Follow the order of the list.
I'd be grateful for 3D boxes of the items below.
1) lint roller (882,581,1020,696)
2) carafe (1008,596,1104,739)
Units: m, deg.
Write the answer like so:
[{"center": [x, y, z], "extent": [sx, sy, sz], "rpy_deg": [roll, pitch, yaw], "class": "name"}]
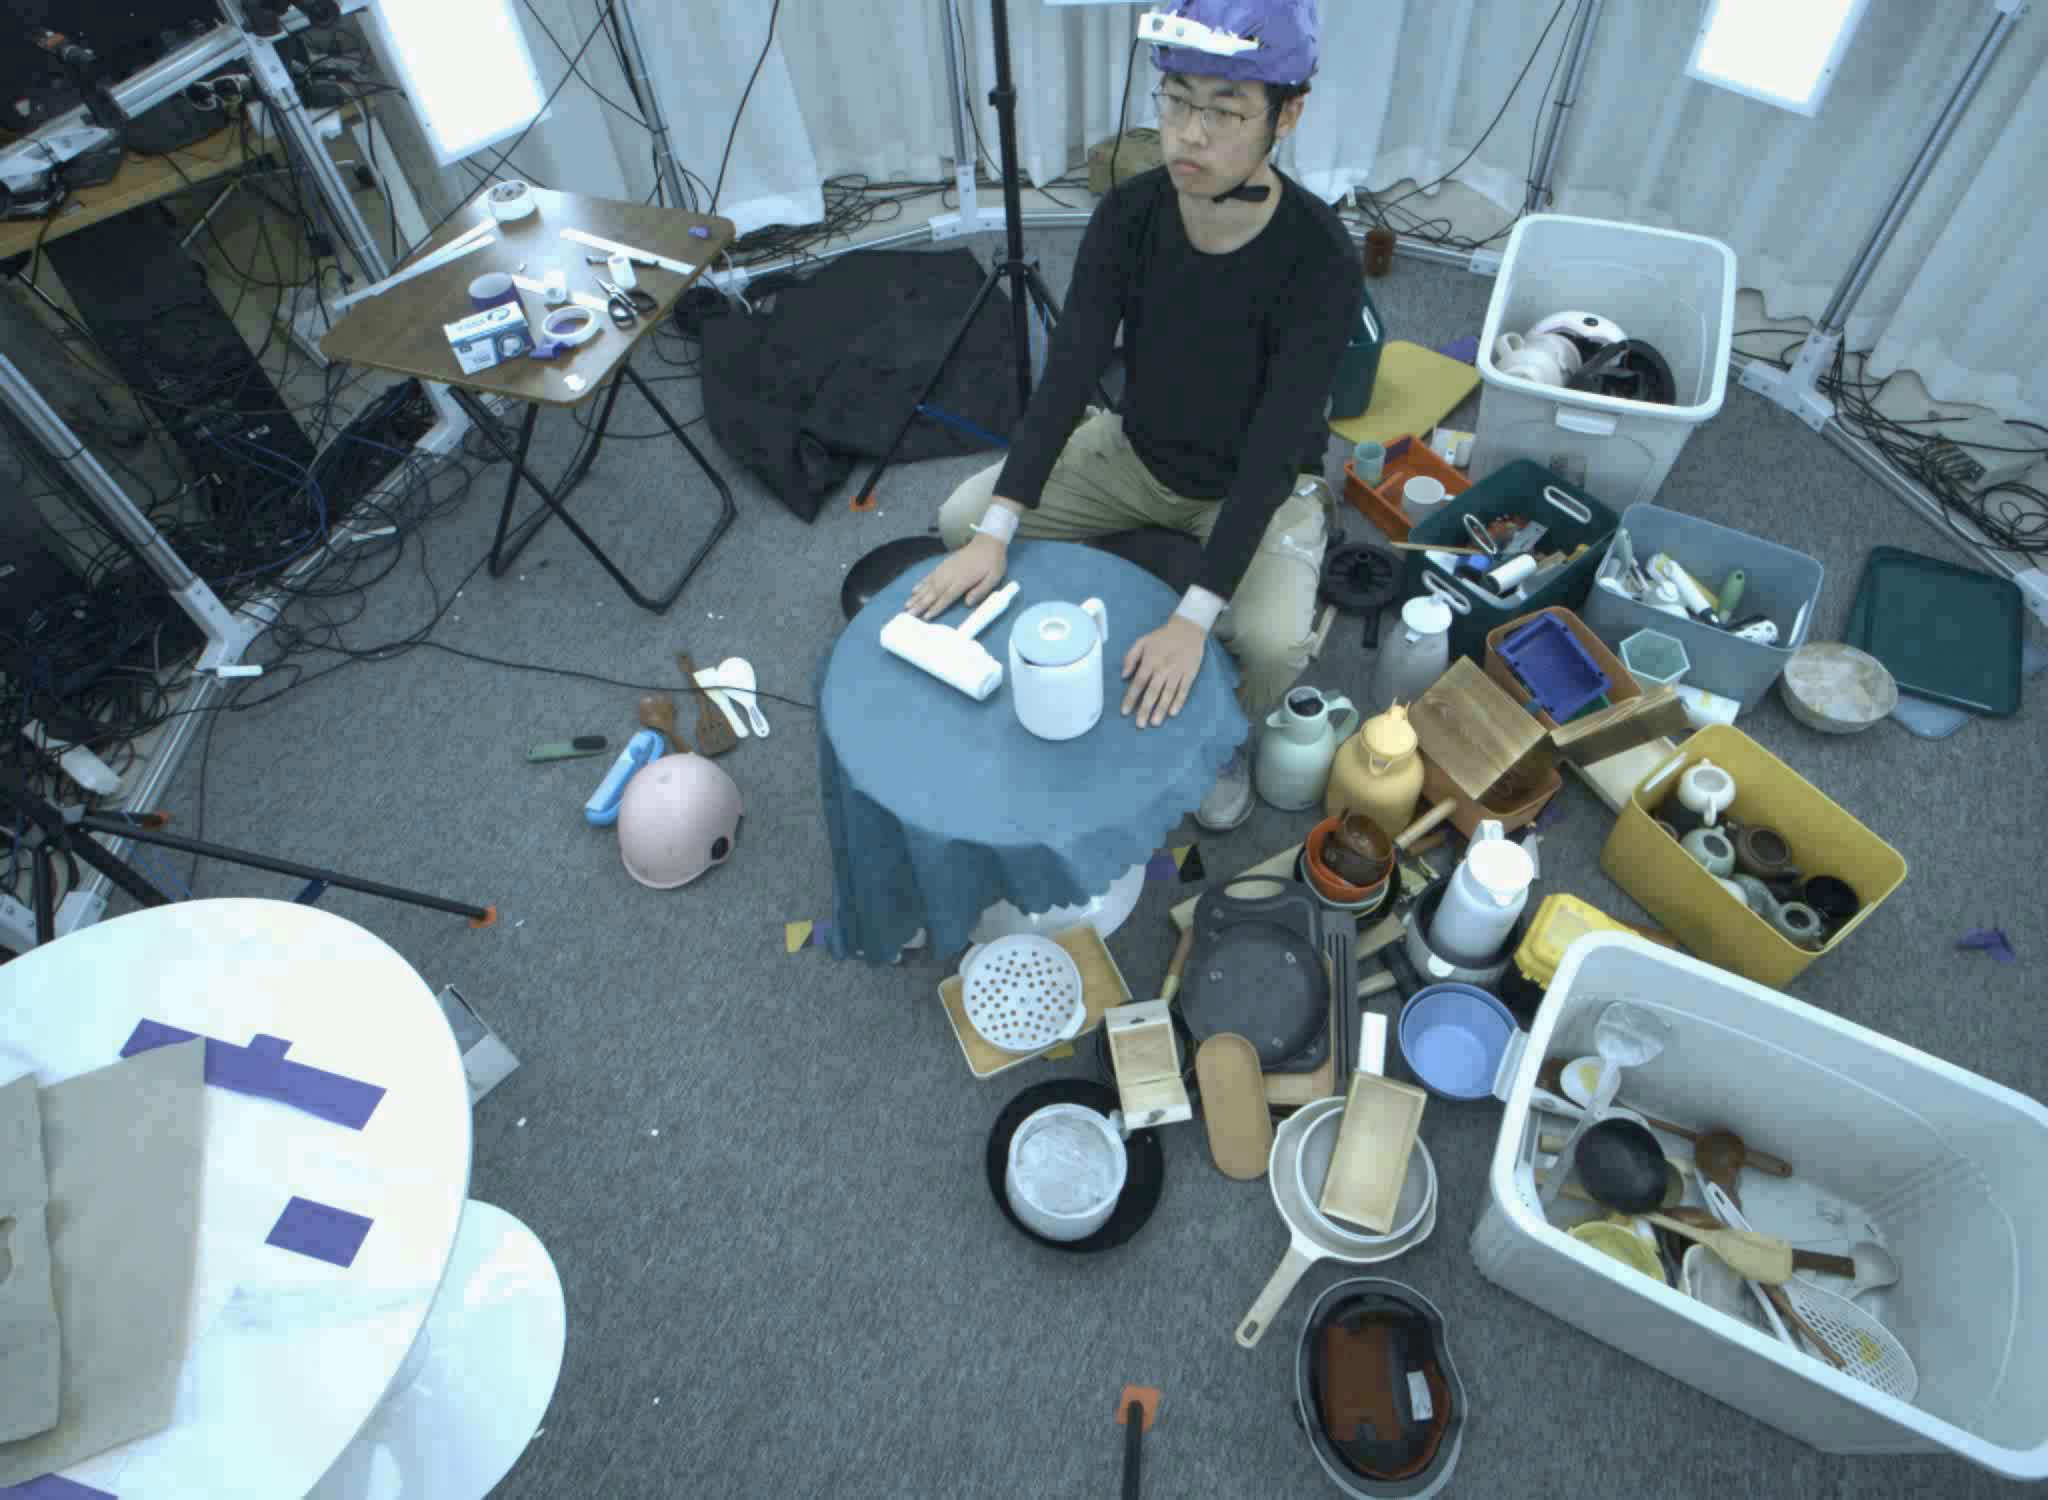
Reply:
[{"center": [-0.079, -0.199, 1.905], "extent": [0.199, 0.049, 0.226], "rpy_deg": [28, 59, 22], "class": "lint roller"}, {"center": [0.060, -0.130, 1.772], "extent": [0.130, 0.184, 0.192], "rpy_deg": [28, 59, 21], "class": "carafe"}]
